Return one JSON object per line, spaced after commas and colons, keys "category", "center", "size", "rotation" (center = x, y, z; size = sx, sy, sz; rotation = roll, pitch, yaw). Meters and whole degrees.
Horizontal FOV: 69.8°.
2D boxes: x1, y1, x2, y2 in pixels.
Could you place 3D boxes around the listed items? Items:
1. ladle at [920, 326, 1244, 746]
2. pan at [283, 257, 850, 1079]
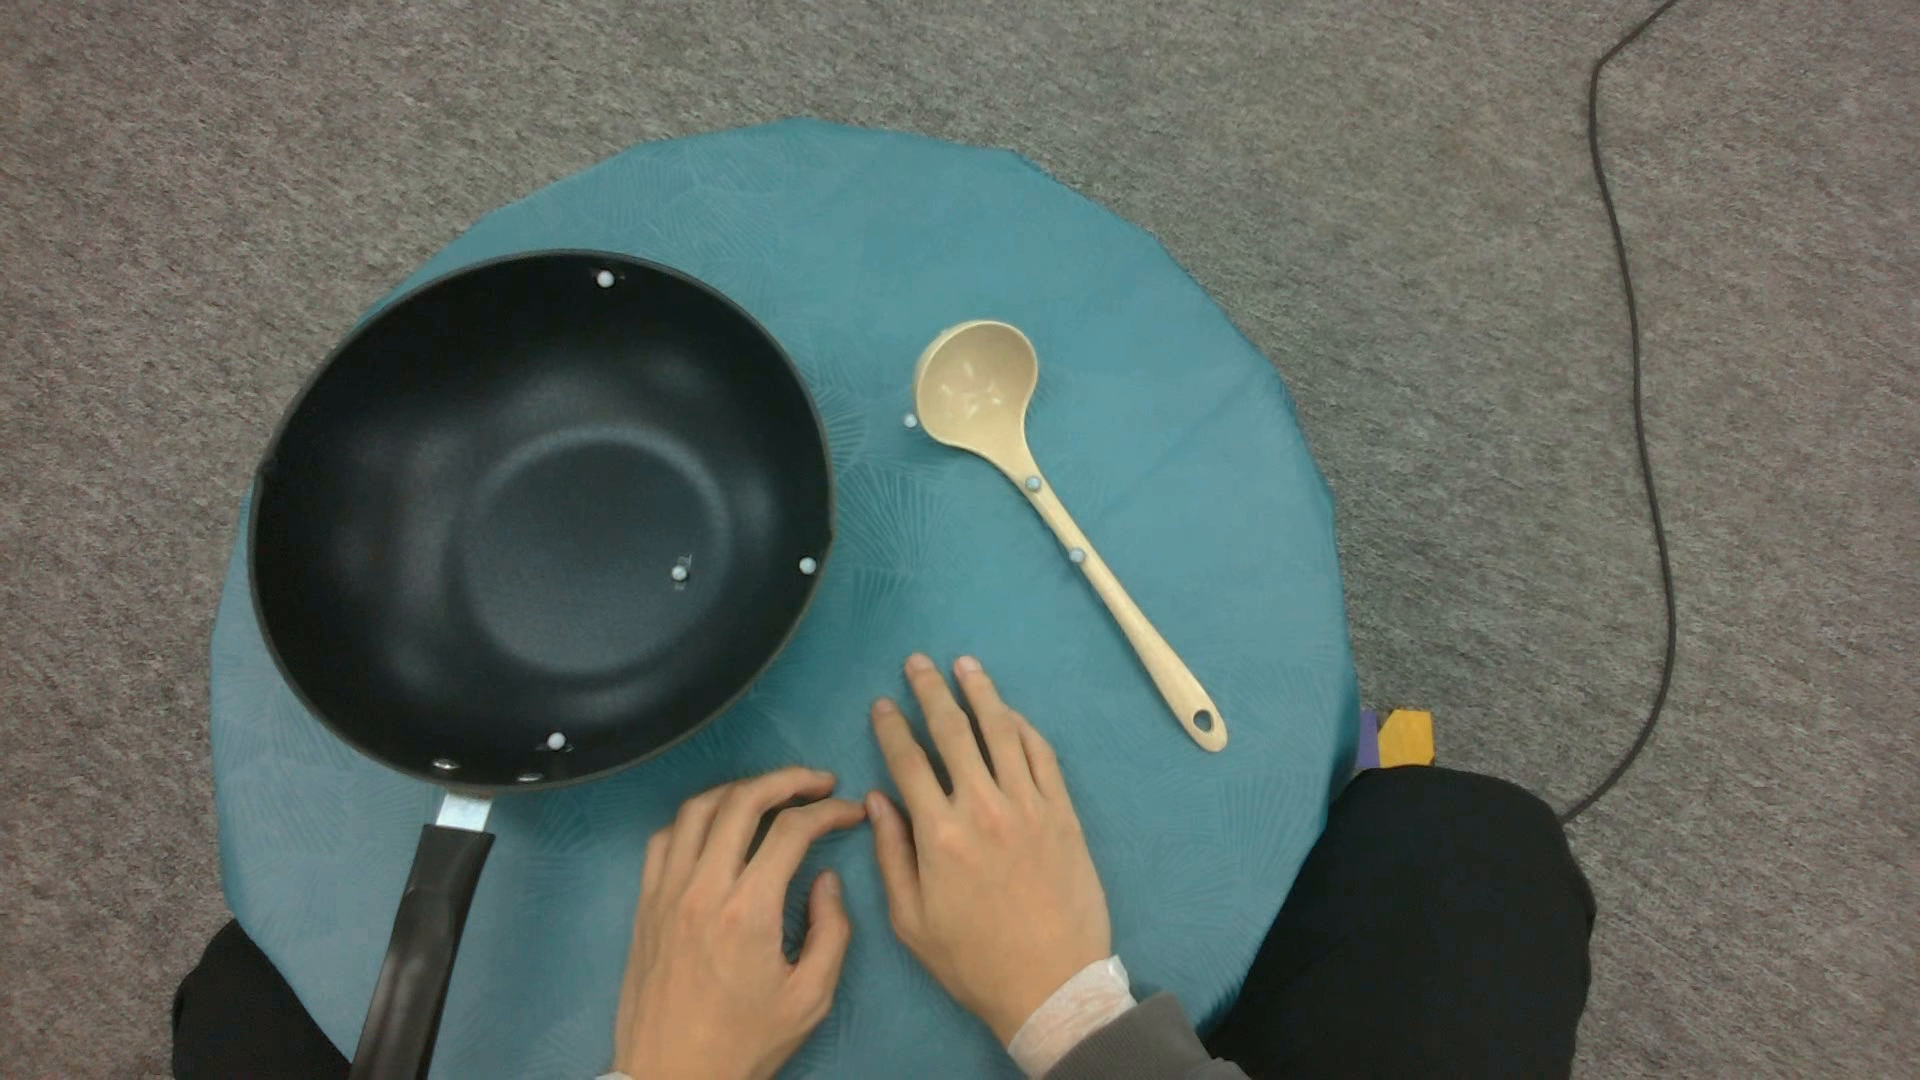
{"category": "ladle", "center": [0.070, -0.005, 0.711], "size": [0.072, 0.072, 0.255], "rotation": [-33, 72, -14]}
{"category": "pan", "center": [-0.209, 0.082, 0.688], "size": [0.288, 0.086, 0.464], "rotation": [8, 72, 5]}
